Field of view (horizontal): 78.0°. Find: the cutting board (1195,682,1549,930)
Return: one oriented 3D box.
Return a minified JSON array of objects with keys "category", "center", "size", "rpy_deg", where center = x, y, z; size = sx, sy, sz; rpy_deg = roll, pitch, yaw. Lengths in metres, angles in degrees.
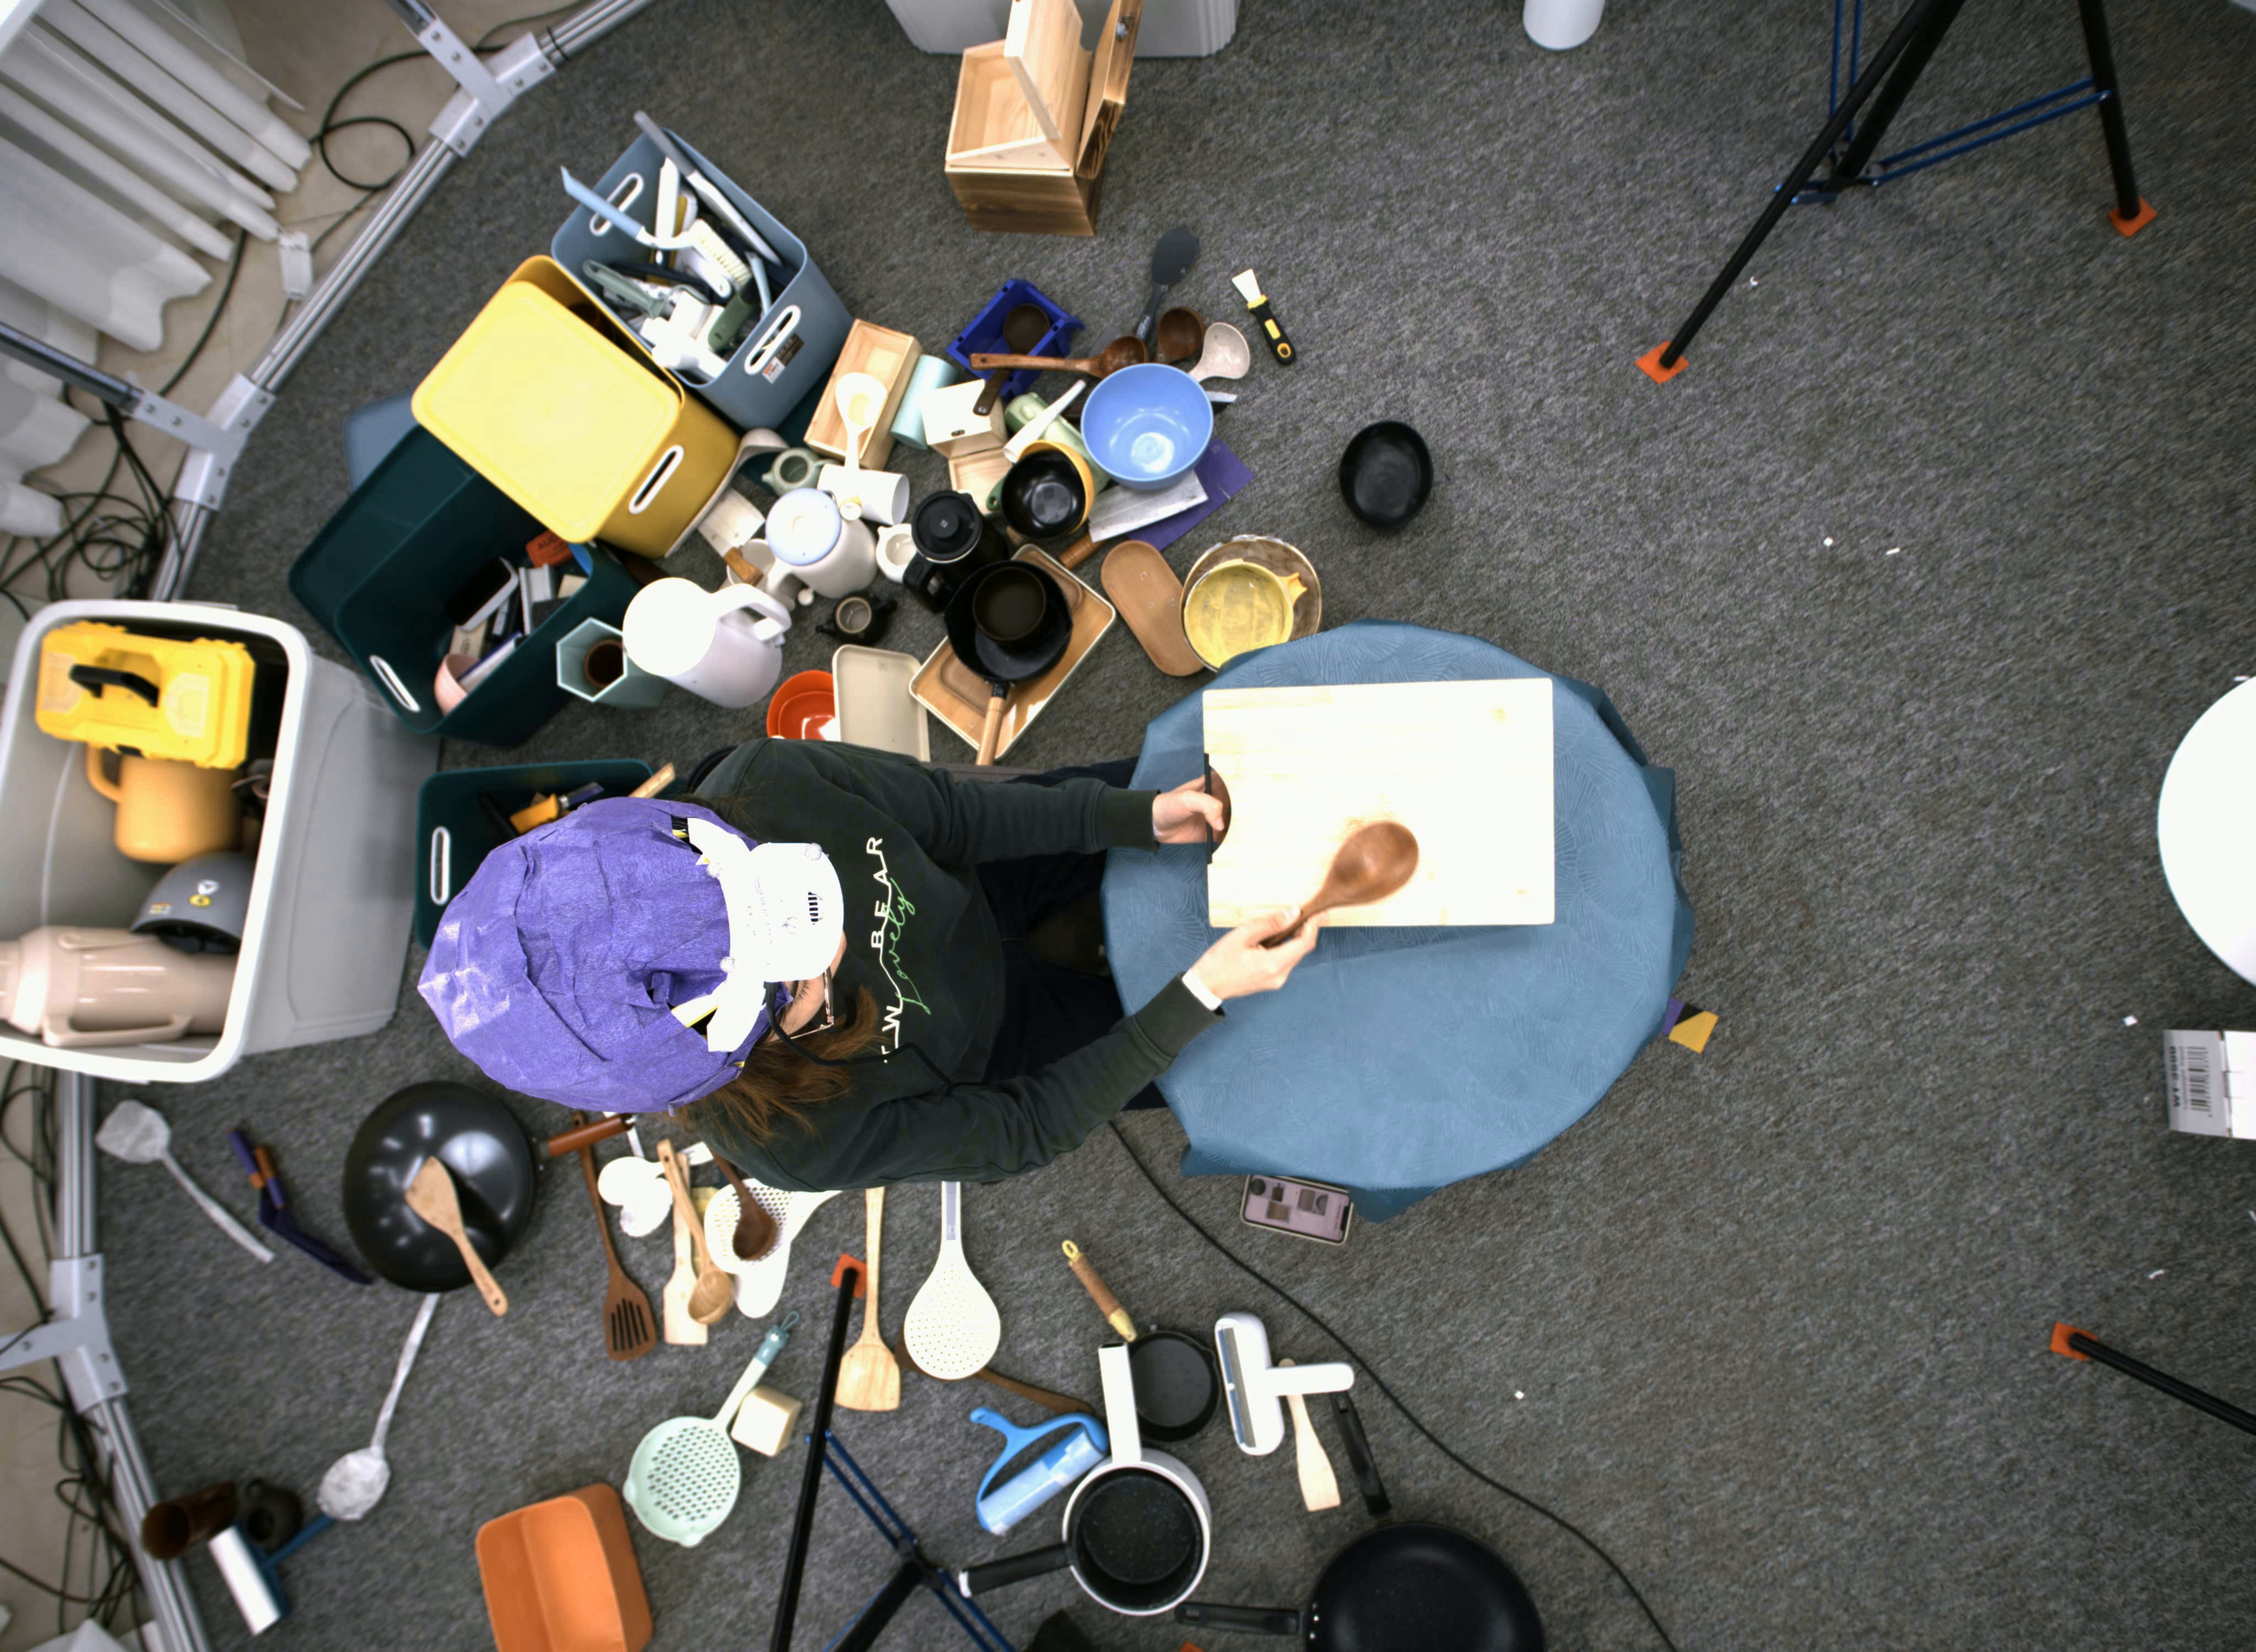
[{"category":"cutting board","center":[0.243,-0.020,1.371],"size":[0.350,0.023,0.251],"rpy_deg":[-2,96,9]}]

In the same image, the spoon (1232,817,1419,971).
[{"category":"spoon","center":[0.187,0.070,1.331],"size":[0.218,0.017,0.074],"rpy_deg":[-38,63,12]}]
